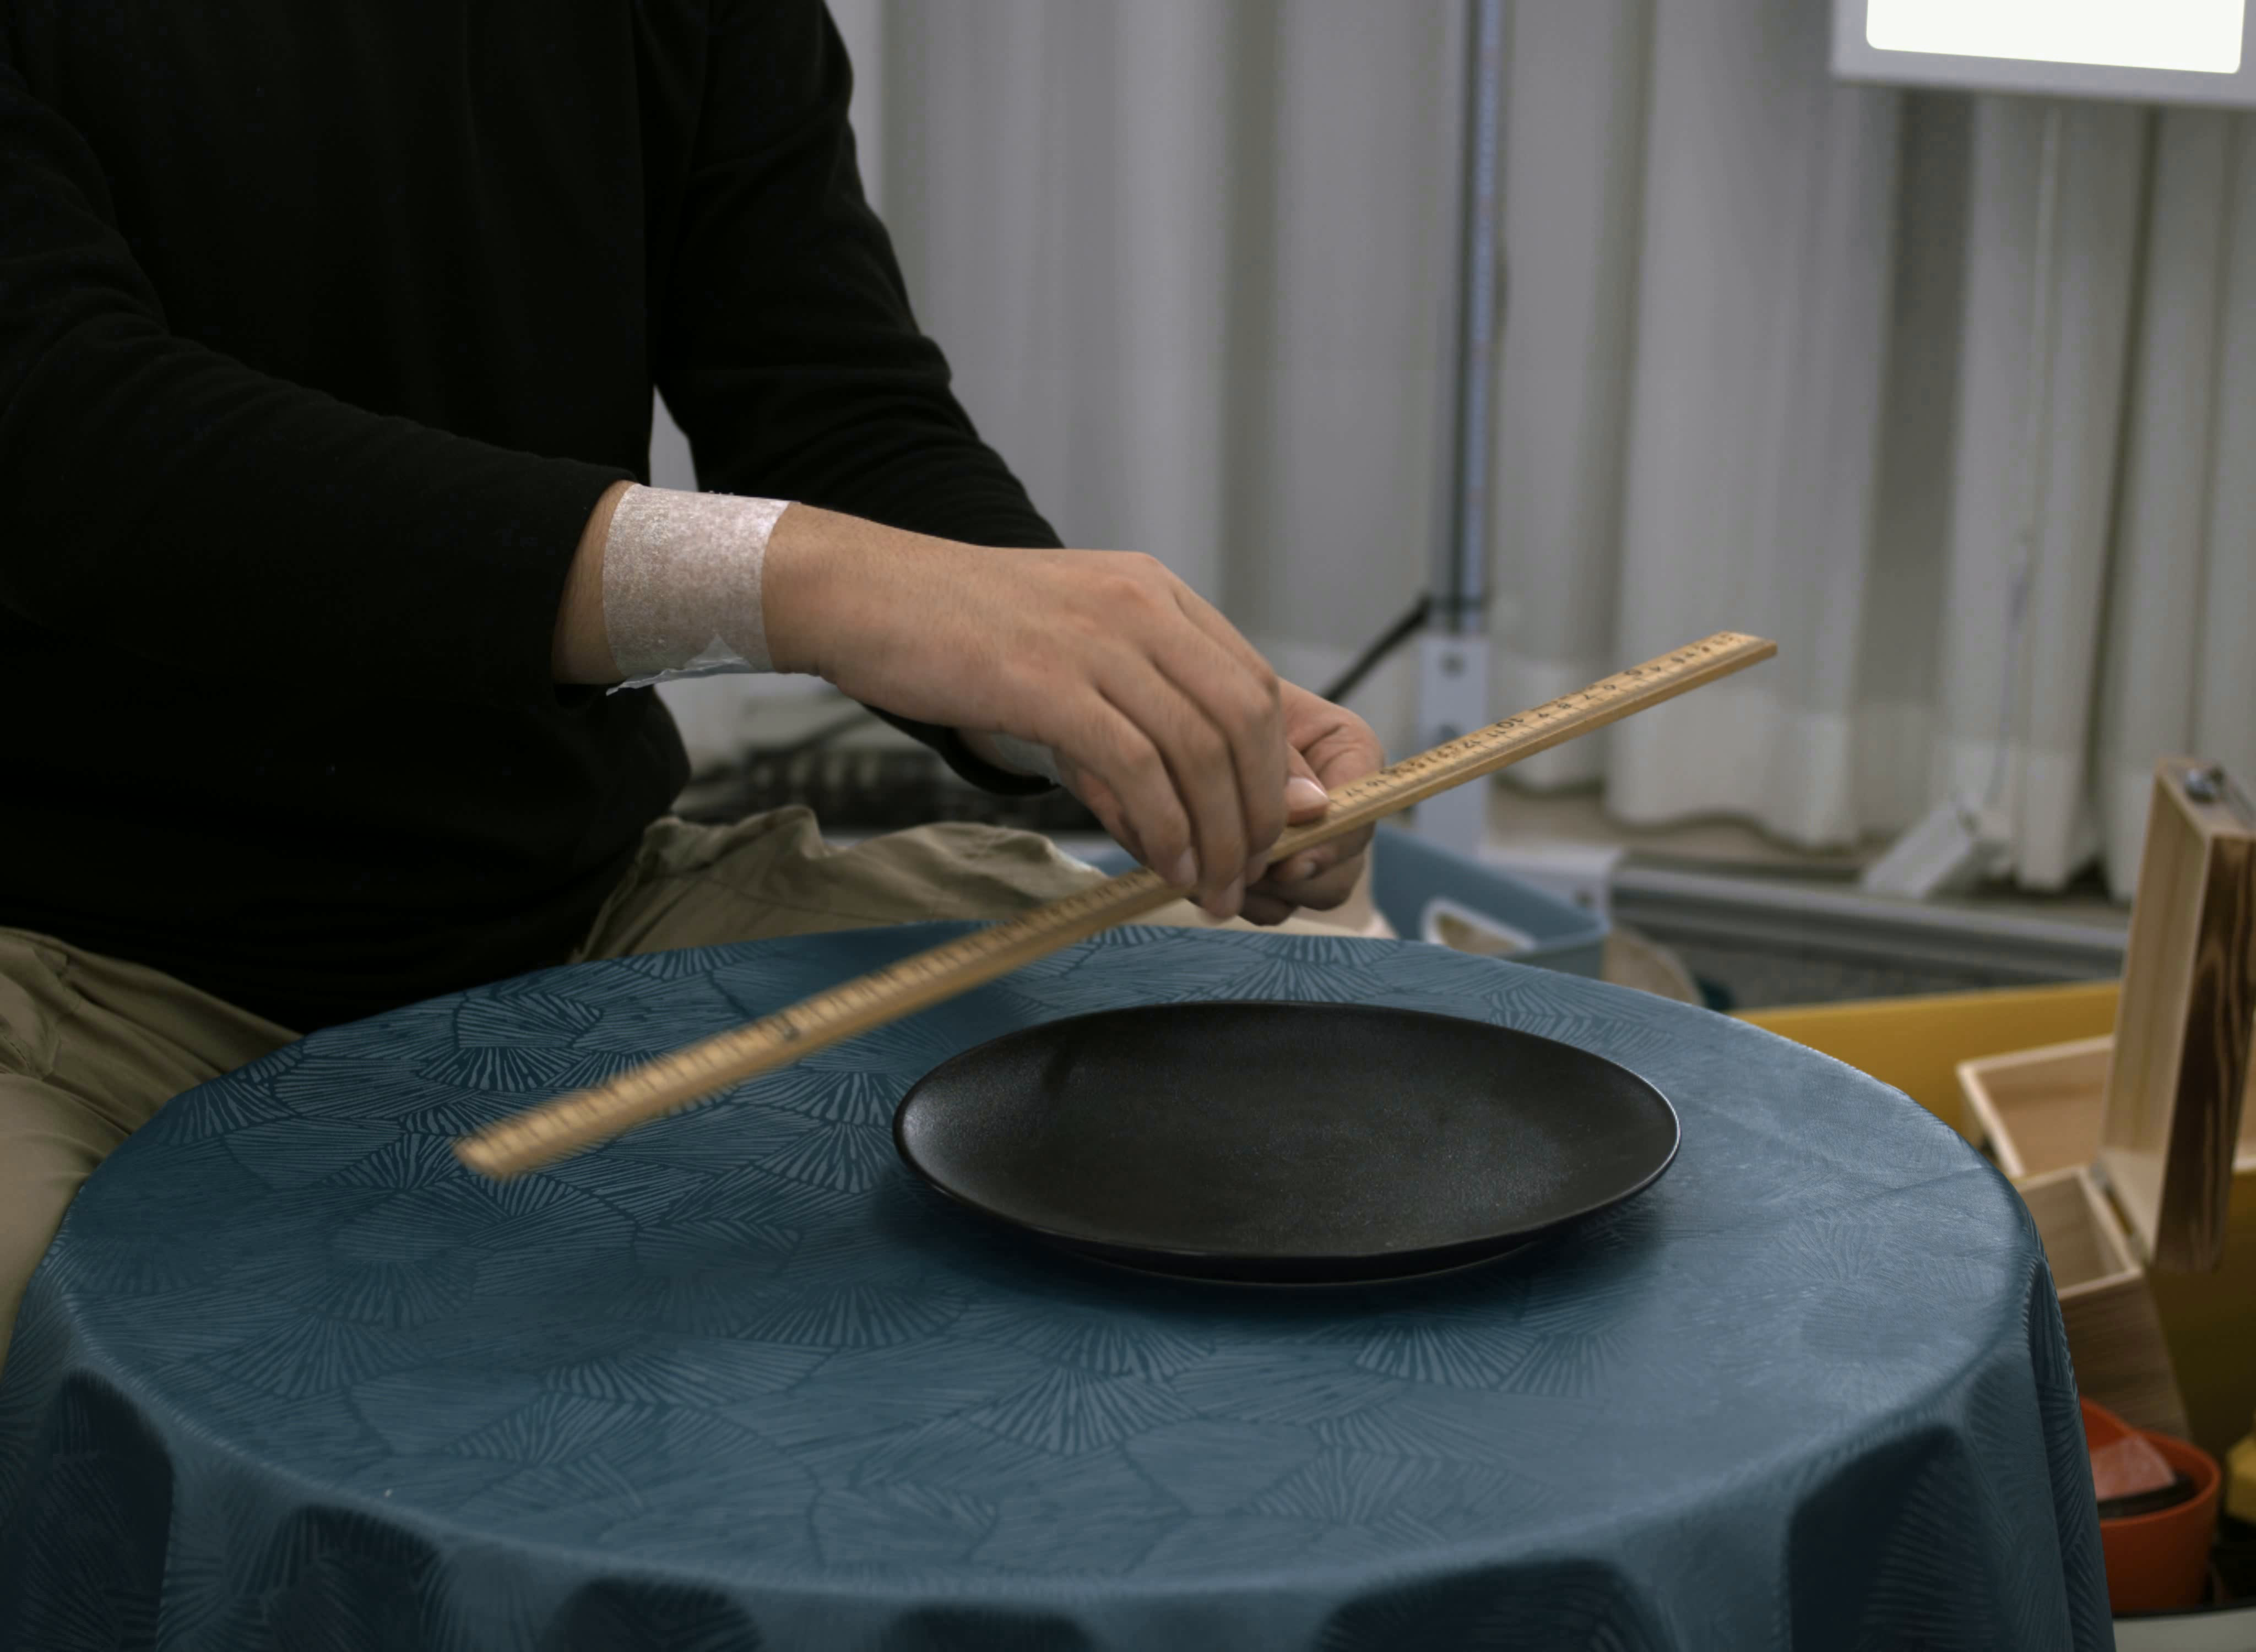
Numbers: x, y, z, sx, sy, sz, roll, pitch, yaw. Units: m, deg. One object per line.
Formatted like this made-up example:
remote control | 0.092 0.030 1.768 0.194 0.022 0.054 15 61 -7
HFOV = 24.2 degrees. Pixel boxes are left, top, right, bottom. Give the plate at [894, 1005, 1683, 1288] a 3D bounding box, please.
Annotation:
plate | 0.049 0.100 1.622 0.243 0.023 0.243 0 15 0

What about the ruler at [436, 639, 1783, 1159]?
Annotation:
ruler | 0.009 0.015 1.609 0.502 0.006 0.026 -20 21 -32
